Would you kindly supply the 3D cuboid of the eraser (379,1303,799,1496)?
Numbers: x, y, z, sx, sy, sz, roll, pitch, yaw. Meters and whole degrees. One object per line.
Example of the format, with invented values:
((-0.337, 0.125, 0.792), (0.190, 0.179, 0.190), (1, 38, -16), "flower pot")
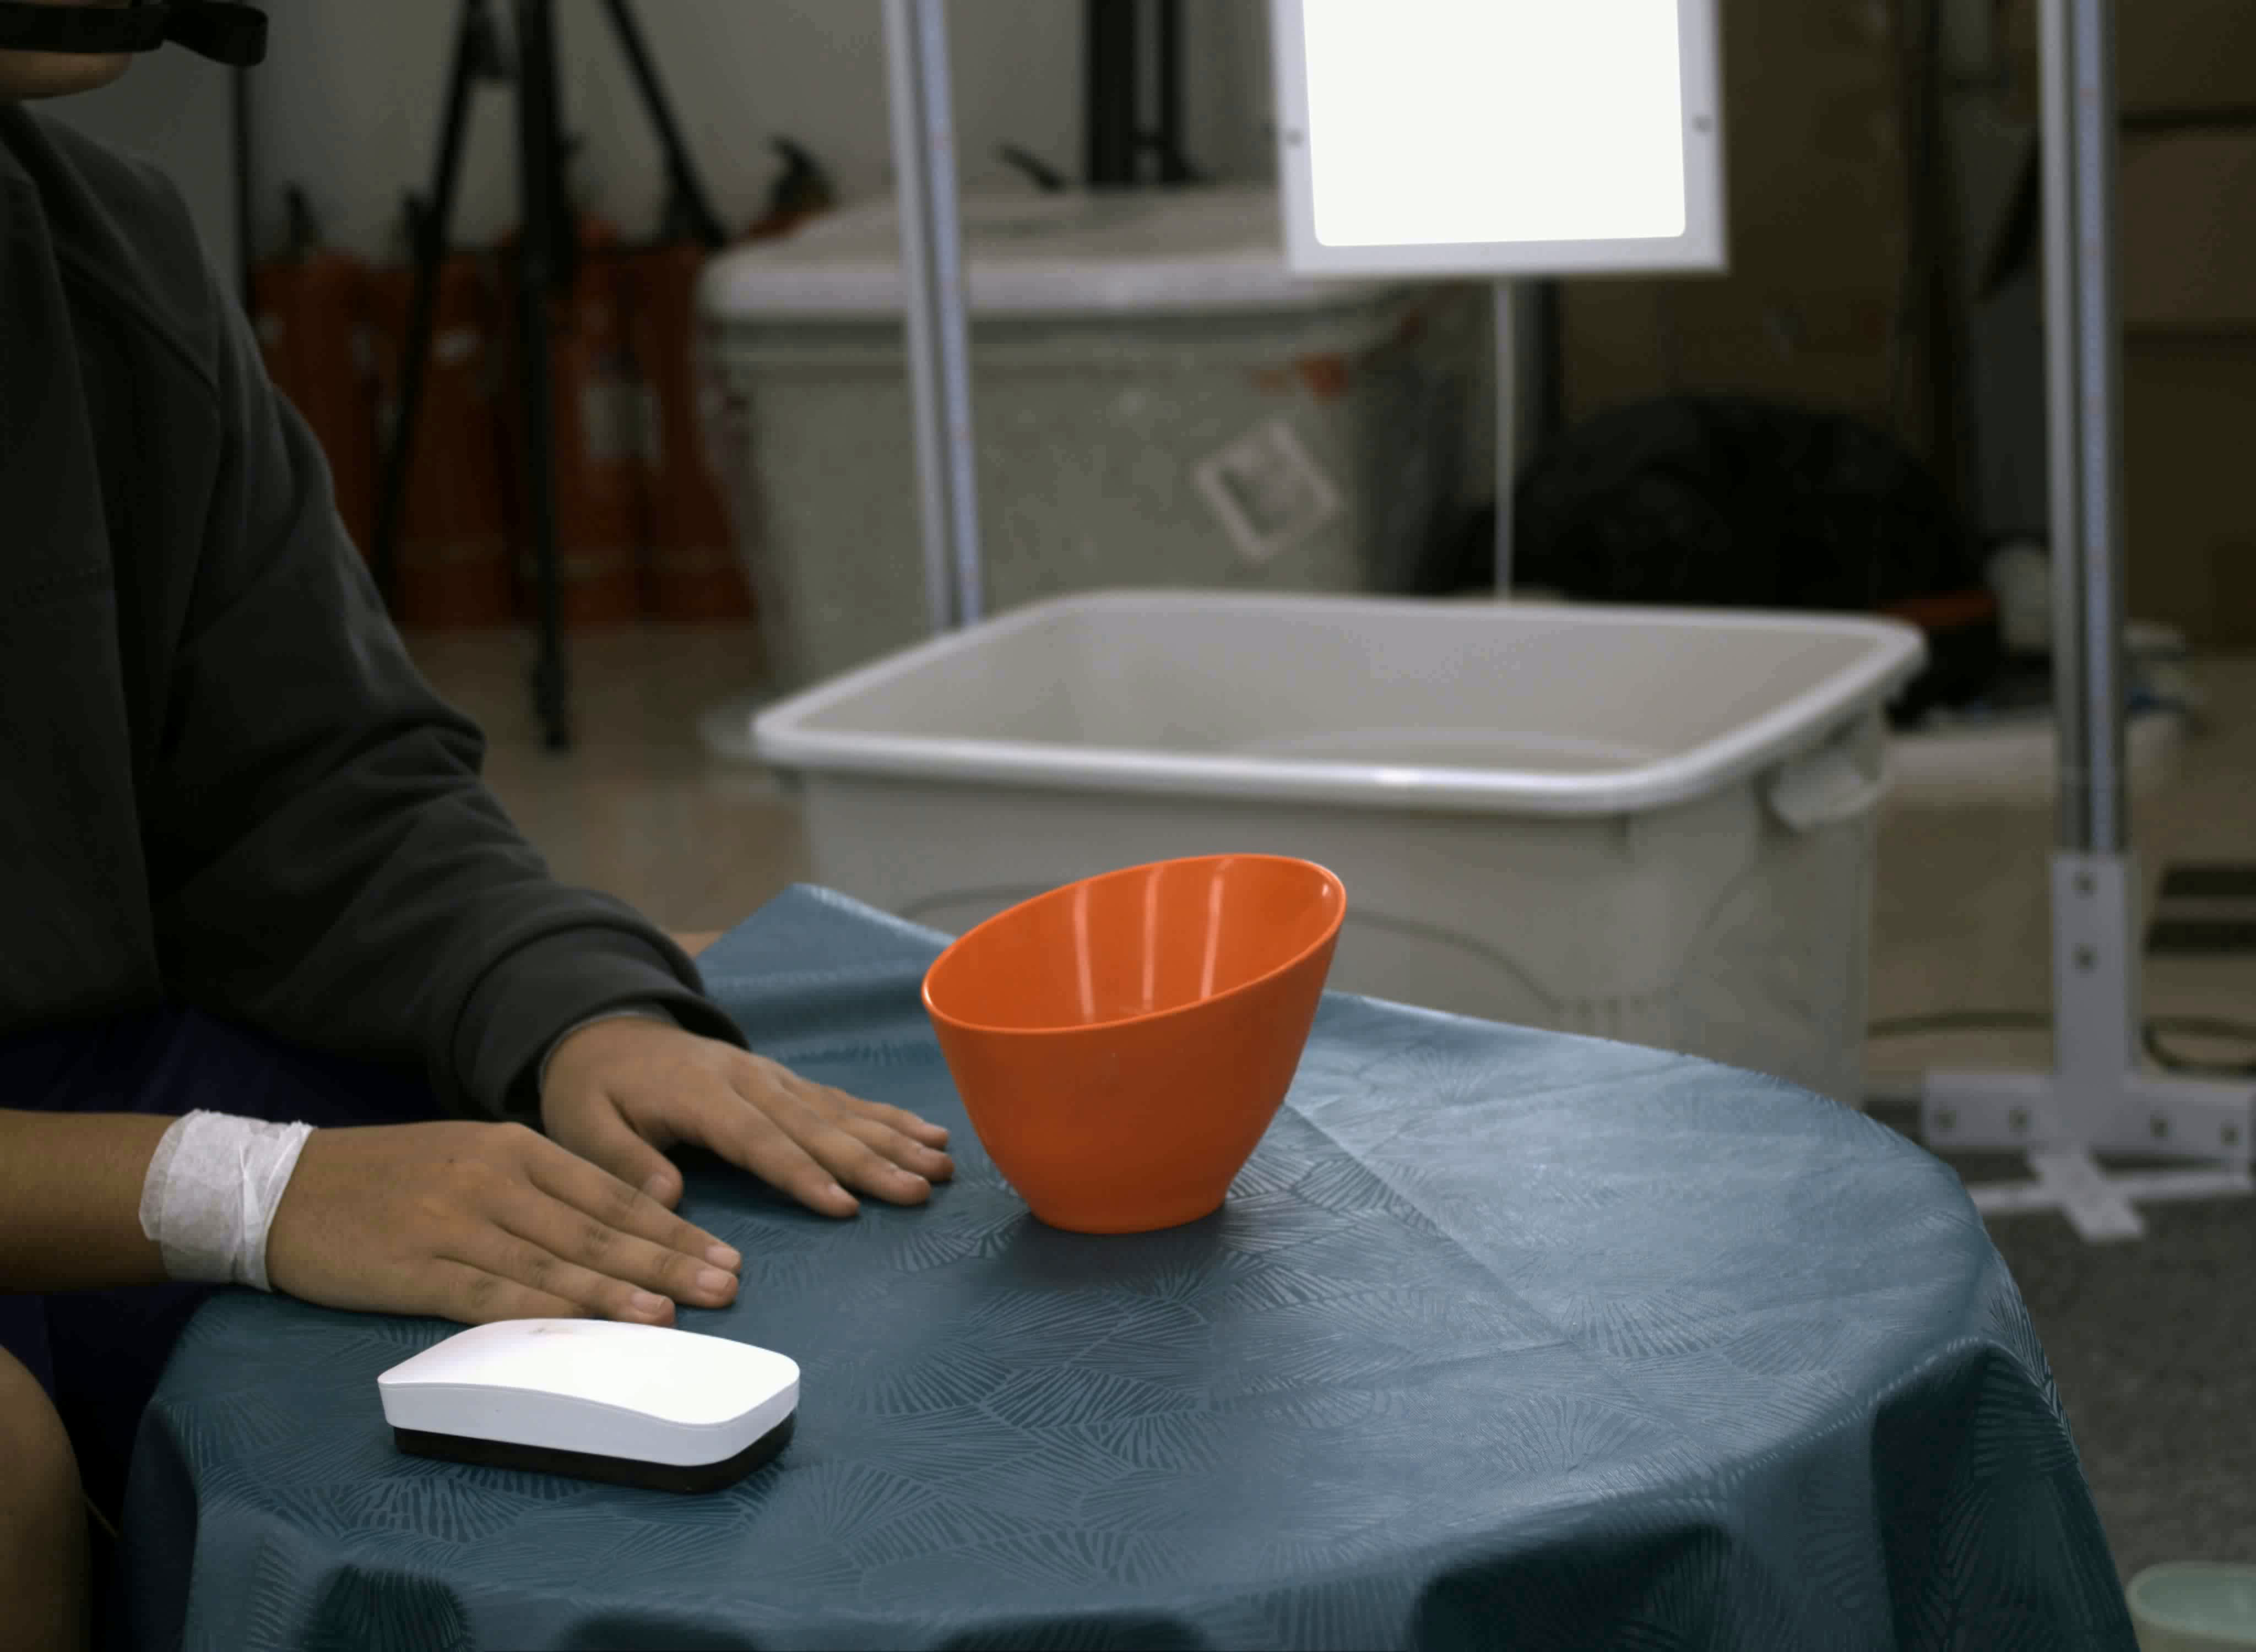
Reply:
((-0.165, 0.174, 1.694), (0.134, 0.034, 0.062), (6, 16, 33), "eraser")

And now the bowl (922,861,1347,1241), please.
((0.006, 0.080, 1.876), (0.147, 0.105, 0.148), (-6, 14, 0), "bowl")
